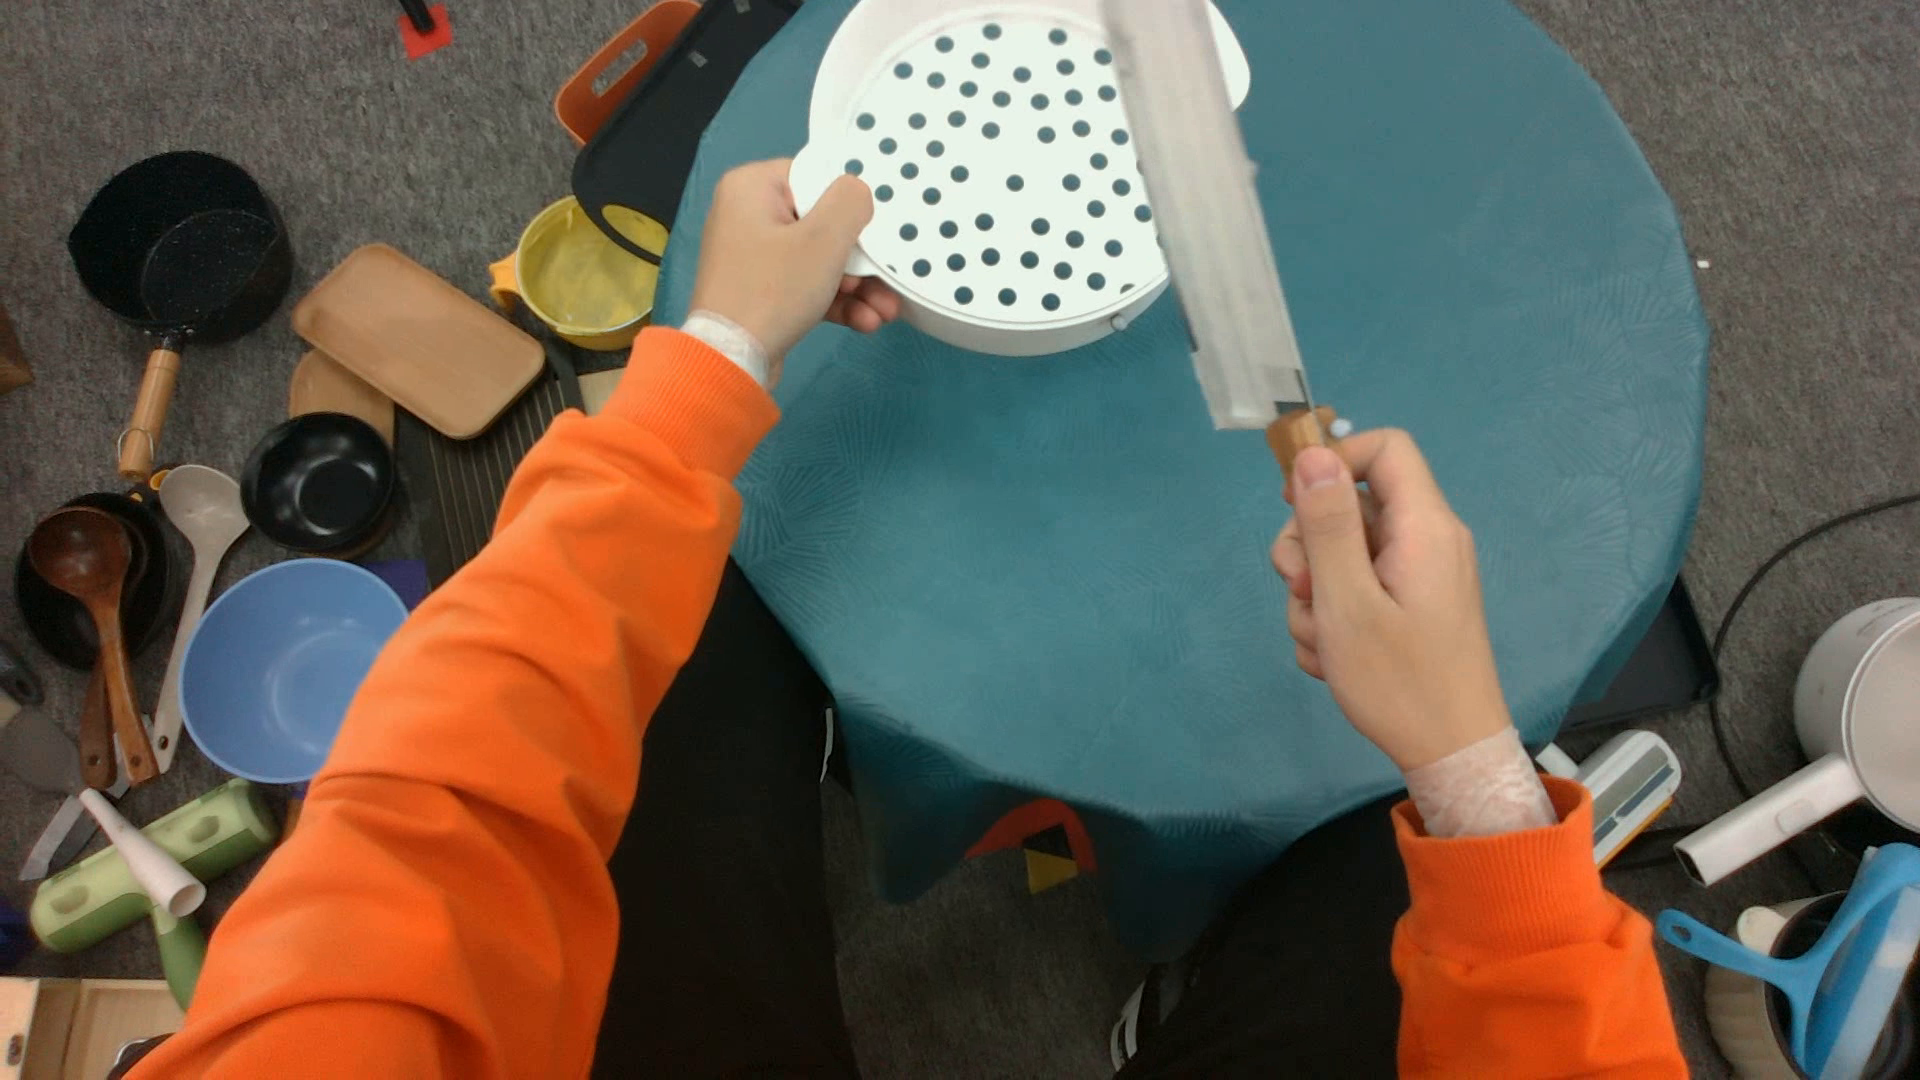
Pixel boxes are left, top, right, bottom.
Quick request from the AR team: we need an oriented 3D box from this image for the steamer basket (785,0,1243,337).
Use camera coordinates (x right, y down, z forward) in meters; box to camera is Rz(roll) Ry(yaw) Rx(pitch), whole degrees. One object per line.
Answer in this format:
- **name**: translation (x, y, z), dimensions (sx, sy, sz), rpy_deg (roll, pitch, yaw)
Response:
- **steamer basket**: translation (0.026, -0.202, 0.683), dimensions (0.231, 0.069, 0.202), rpy_deg (-26, 82, -8)

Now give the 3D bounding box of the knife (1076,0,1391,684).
- **knife**: translation (0.106, -0.087, 0.562), dimensions (0.021, 0.093, 0.305), rpy_deg (-23, 100, -13)
